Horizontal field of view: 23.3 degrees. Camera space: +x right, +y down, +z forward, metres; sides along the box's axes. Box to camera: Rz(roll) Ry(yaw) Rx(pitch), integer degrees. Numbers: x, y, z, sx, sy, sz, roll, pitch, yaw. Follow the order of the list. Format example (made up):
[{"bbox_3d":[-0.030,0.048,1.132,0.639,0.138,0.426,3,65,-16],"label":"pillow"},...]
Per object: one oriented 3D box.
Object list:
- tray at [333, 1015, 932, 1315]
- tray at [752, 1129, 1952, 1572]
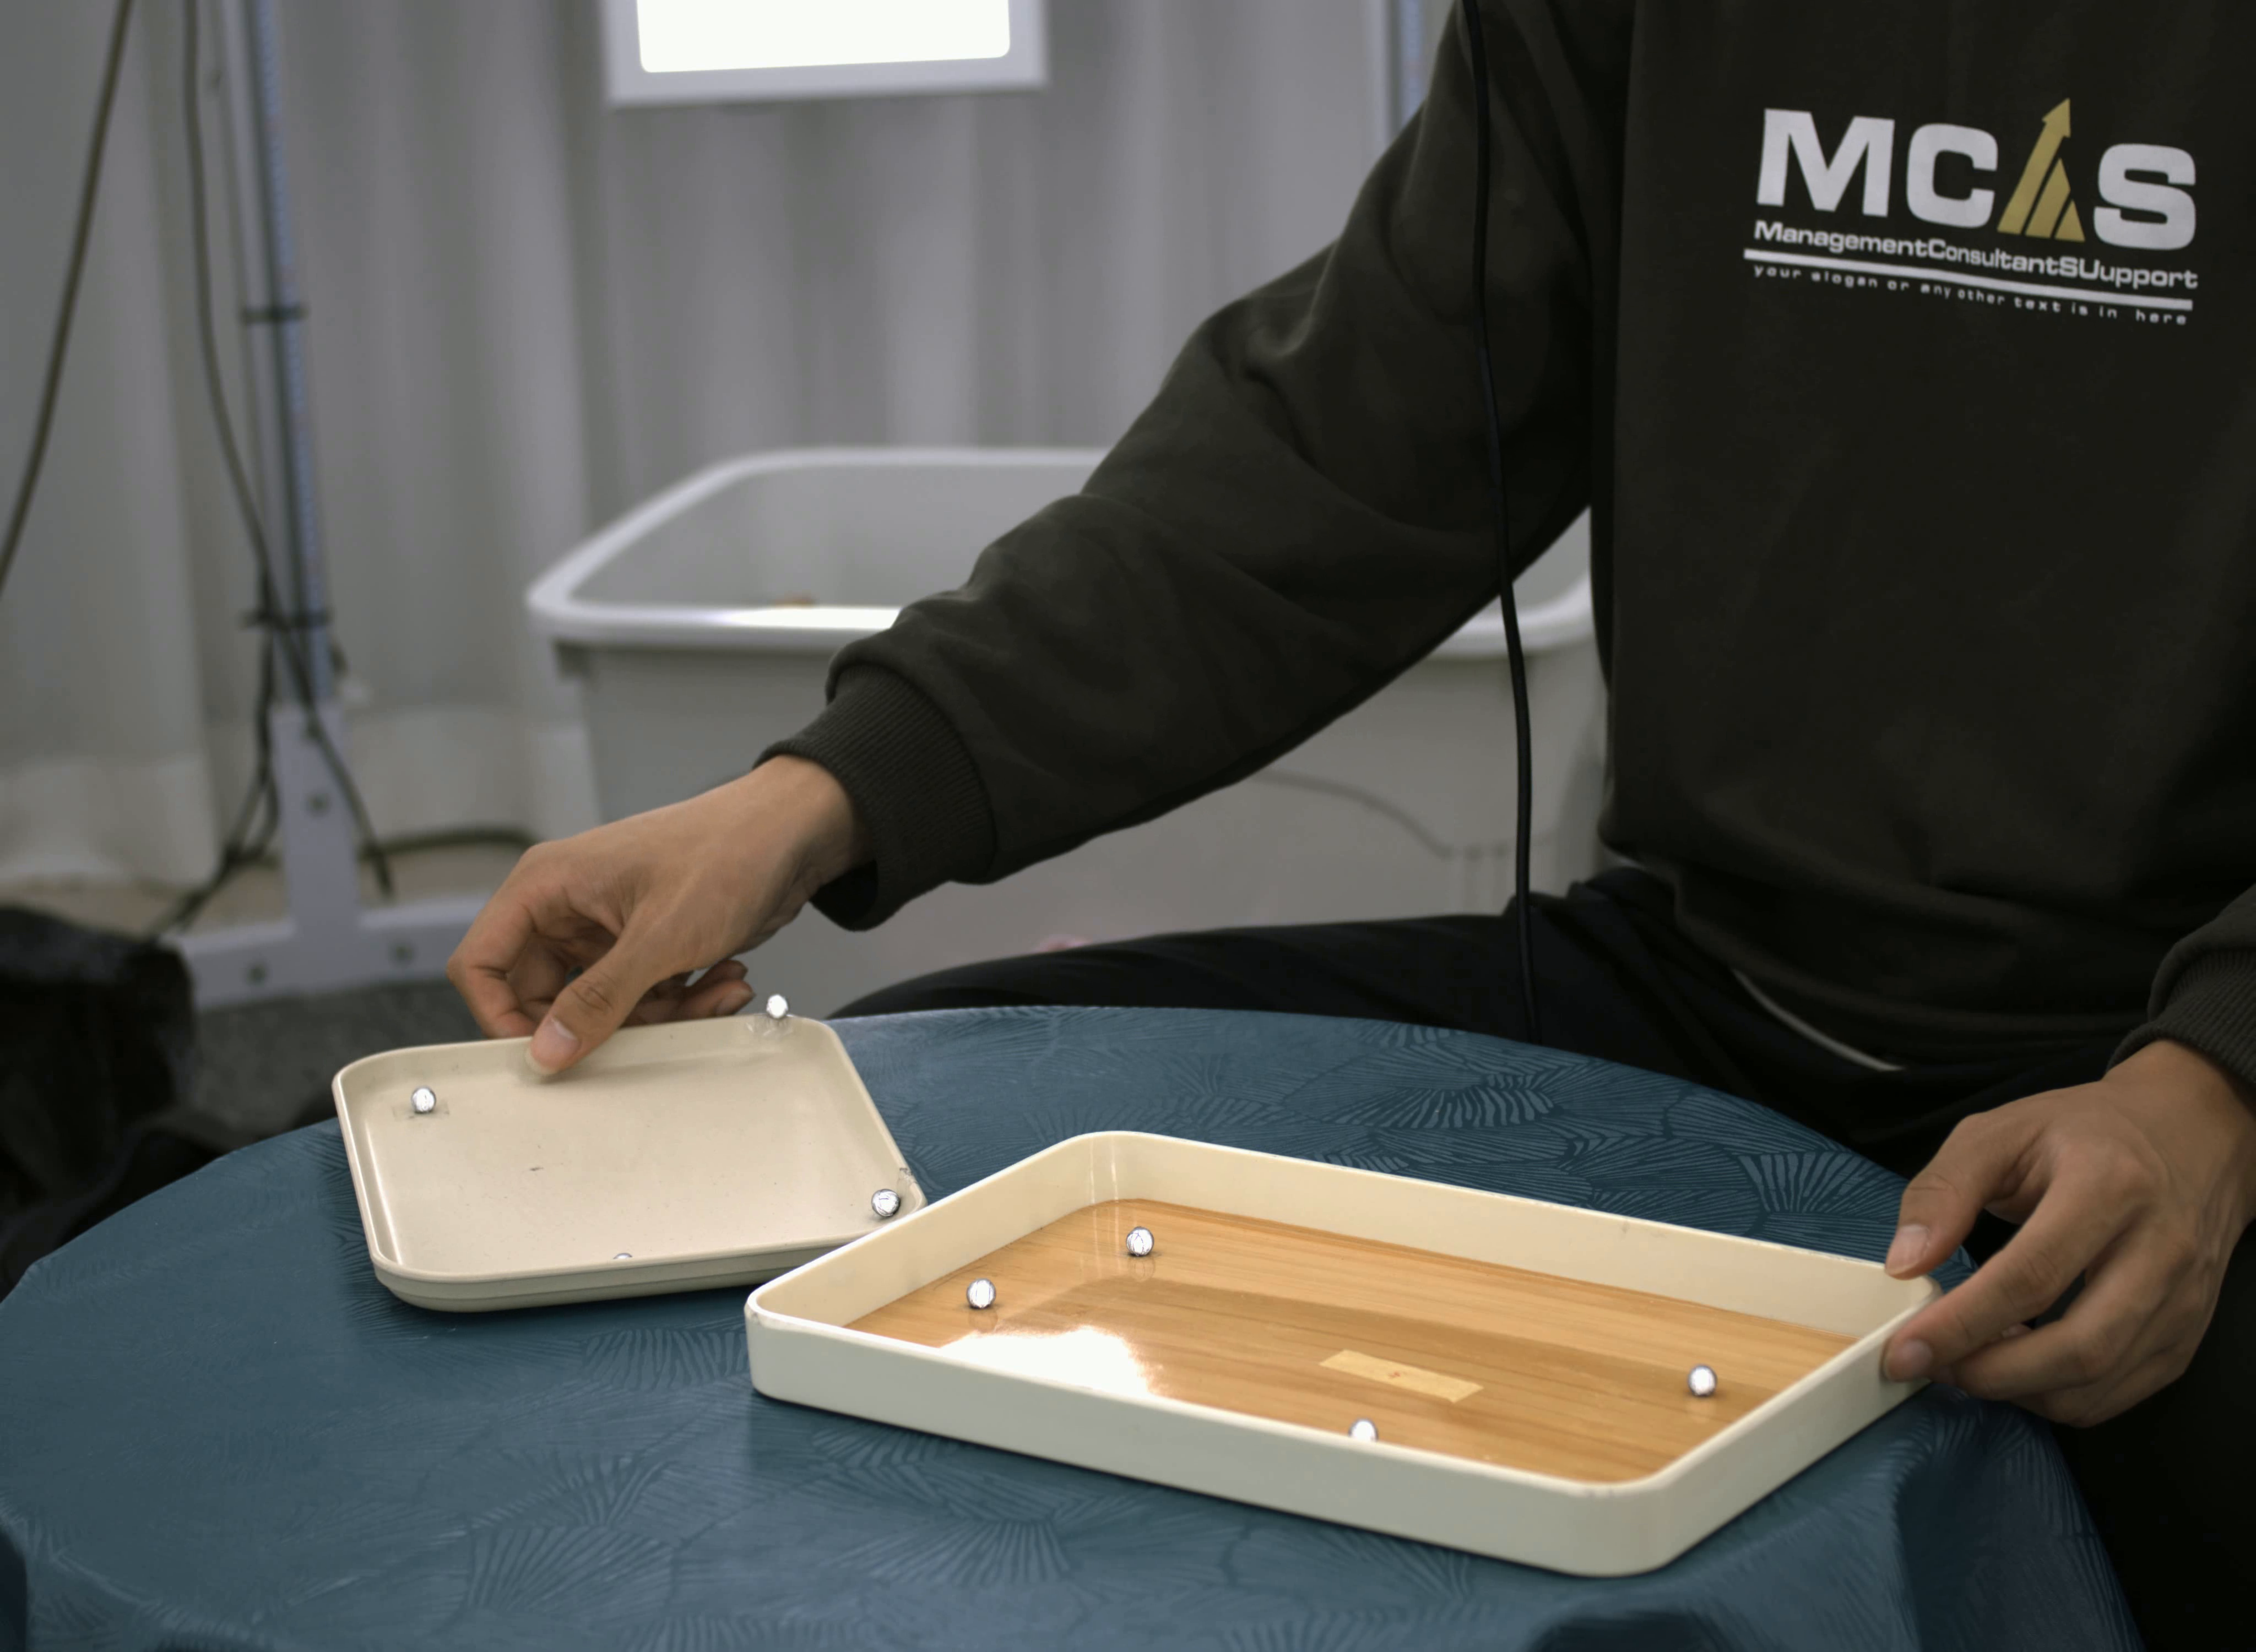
[{"bbox_3d":[-0.161,0.107,1.743,0.170,0.017,0.241,-6,15,-11],"label":"tray"},{"bbox_3d":[0.062,0.144,1.547,0.301,0.027,0.191,8,18,34],"label":"tray"}]
